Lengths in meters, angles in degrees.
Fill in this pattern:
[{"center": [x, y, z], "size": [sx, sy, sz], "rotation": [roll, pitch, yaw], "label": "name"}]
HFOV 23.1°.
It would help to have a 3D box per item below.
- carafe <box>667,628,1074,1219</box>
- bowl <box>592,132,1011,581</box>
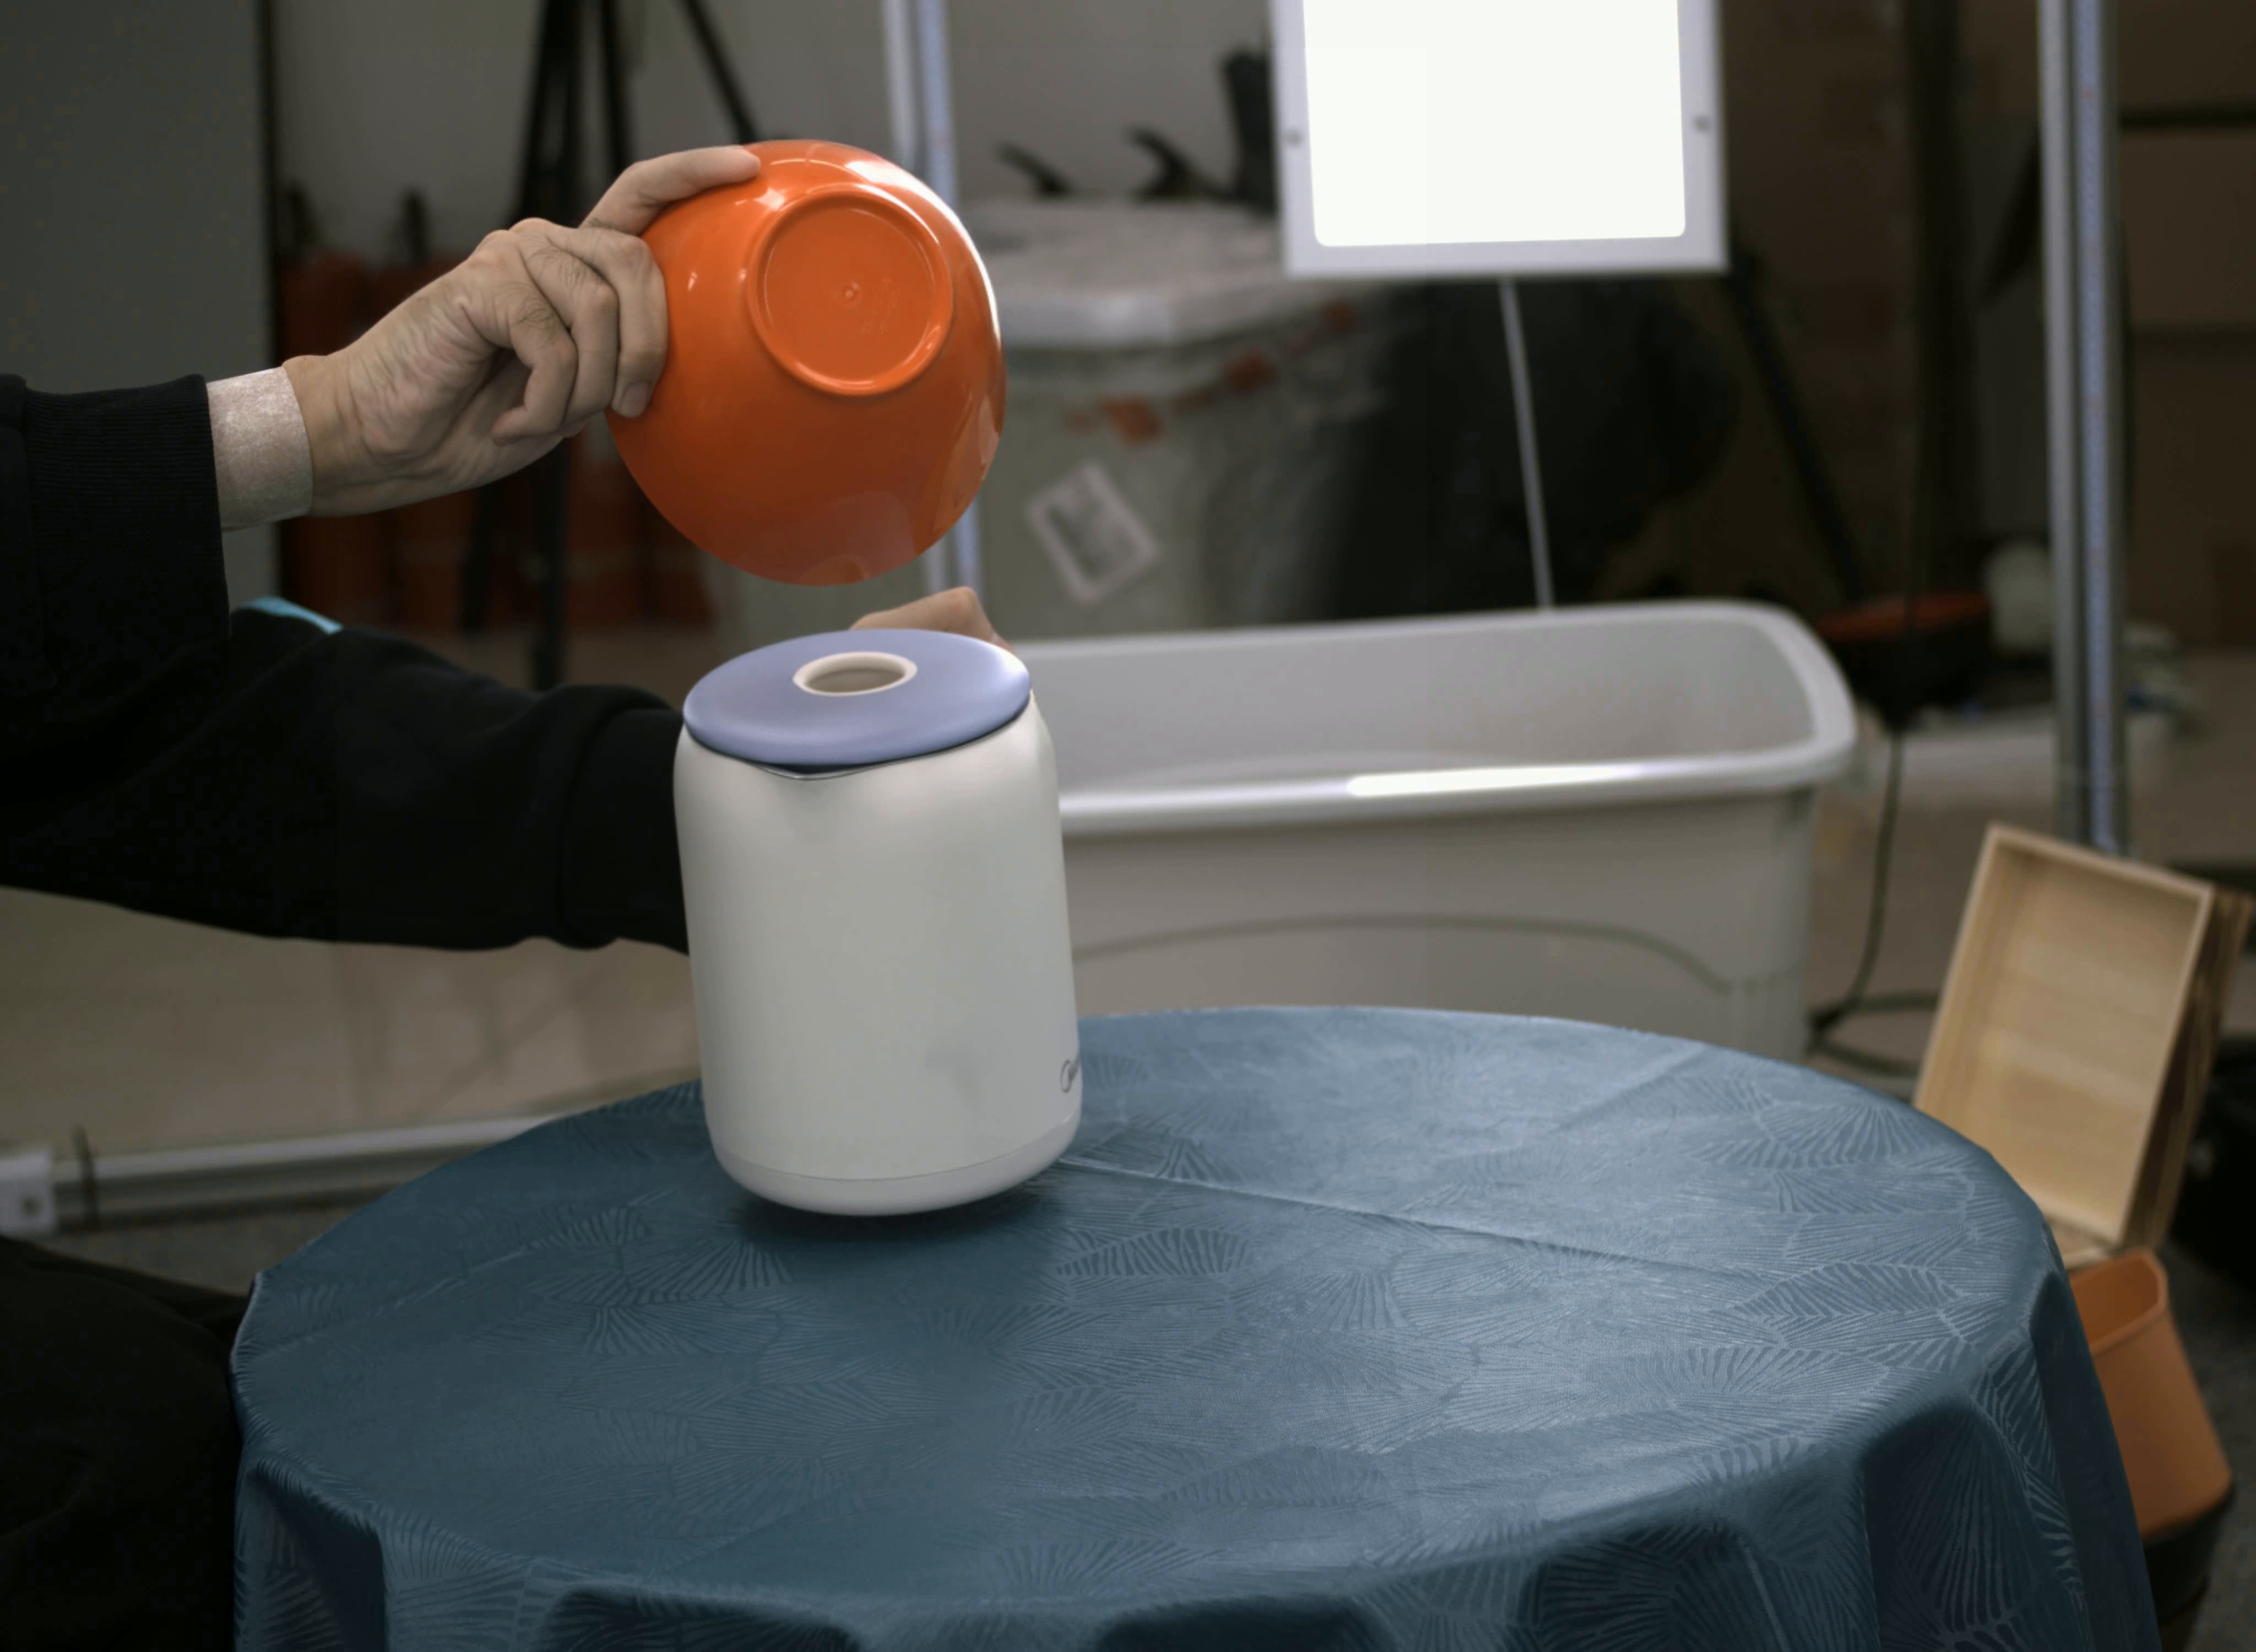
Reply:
[{"center": [-0.083, 0.024, 1.907], "size": [0.133, 0.183, 0.189], "rotation": [1, 20, 11], "label": "carafe"}, {"center": [-0.093, -0.159, 1.771], "size": [0.145, 0.148, 0.106], "rotation": [-9, -4, -17], "label": "bowl"}]
